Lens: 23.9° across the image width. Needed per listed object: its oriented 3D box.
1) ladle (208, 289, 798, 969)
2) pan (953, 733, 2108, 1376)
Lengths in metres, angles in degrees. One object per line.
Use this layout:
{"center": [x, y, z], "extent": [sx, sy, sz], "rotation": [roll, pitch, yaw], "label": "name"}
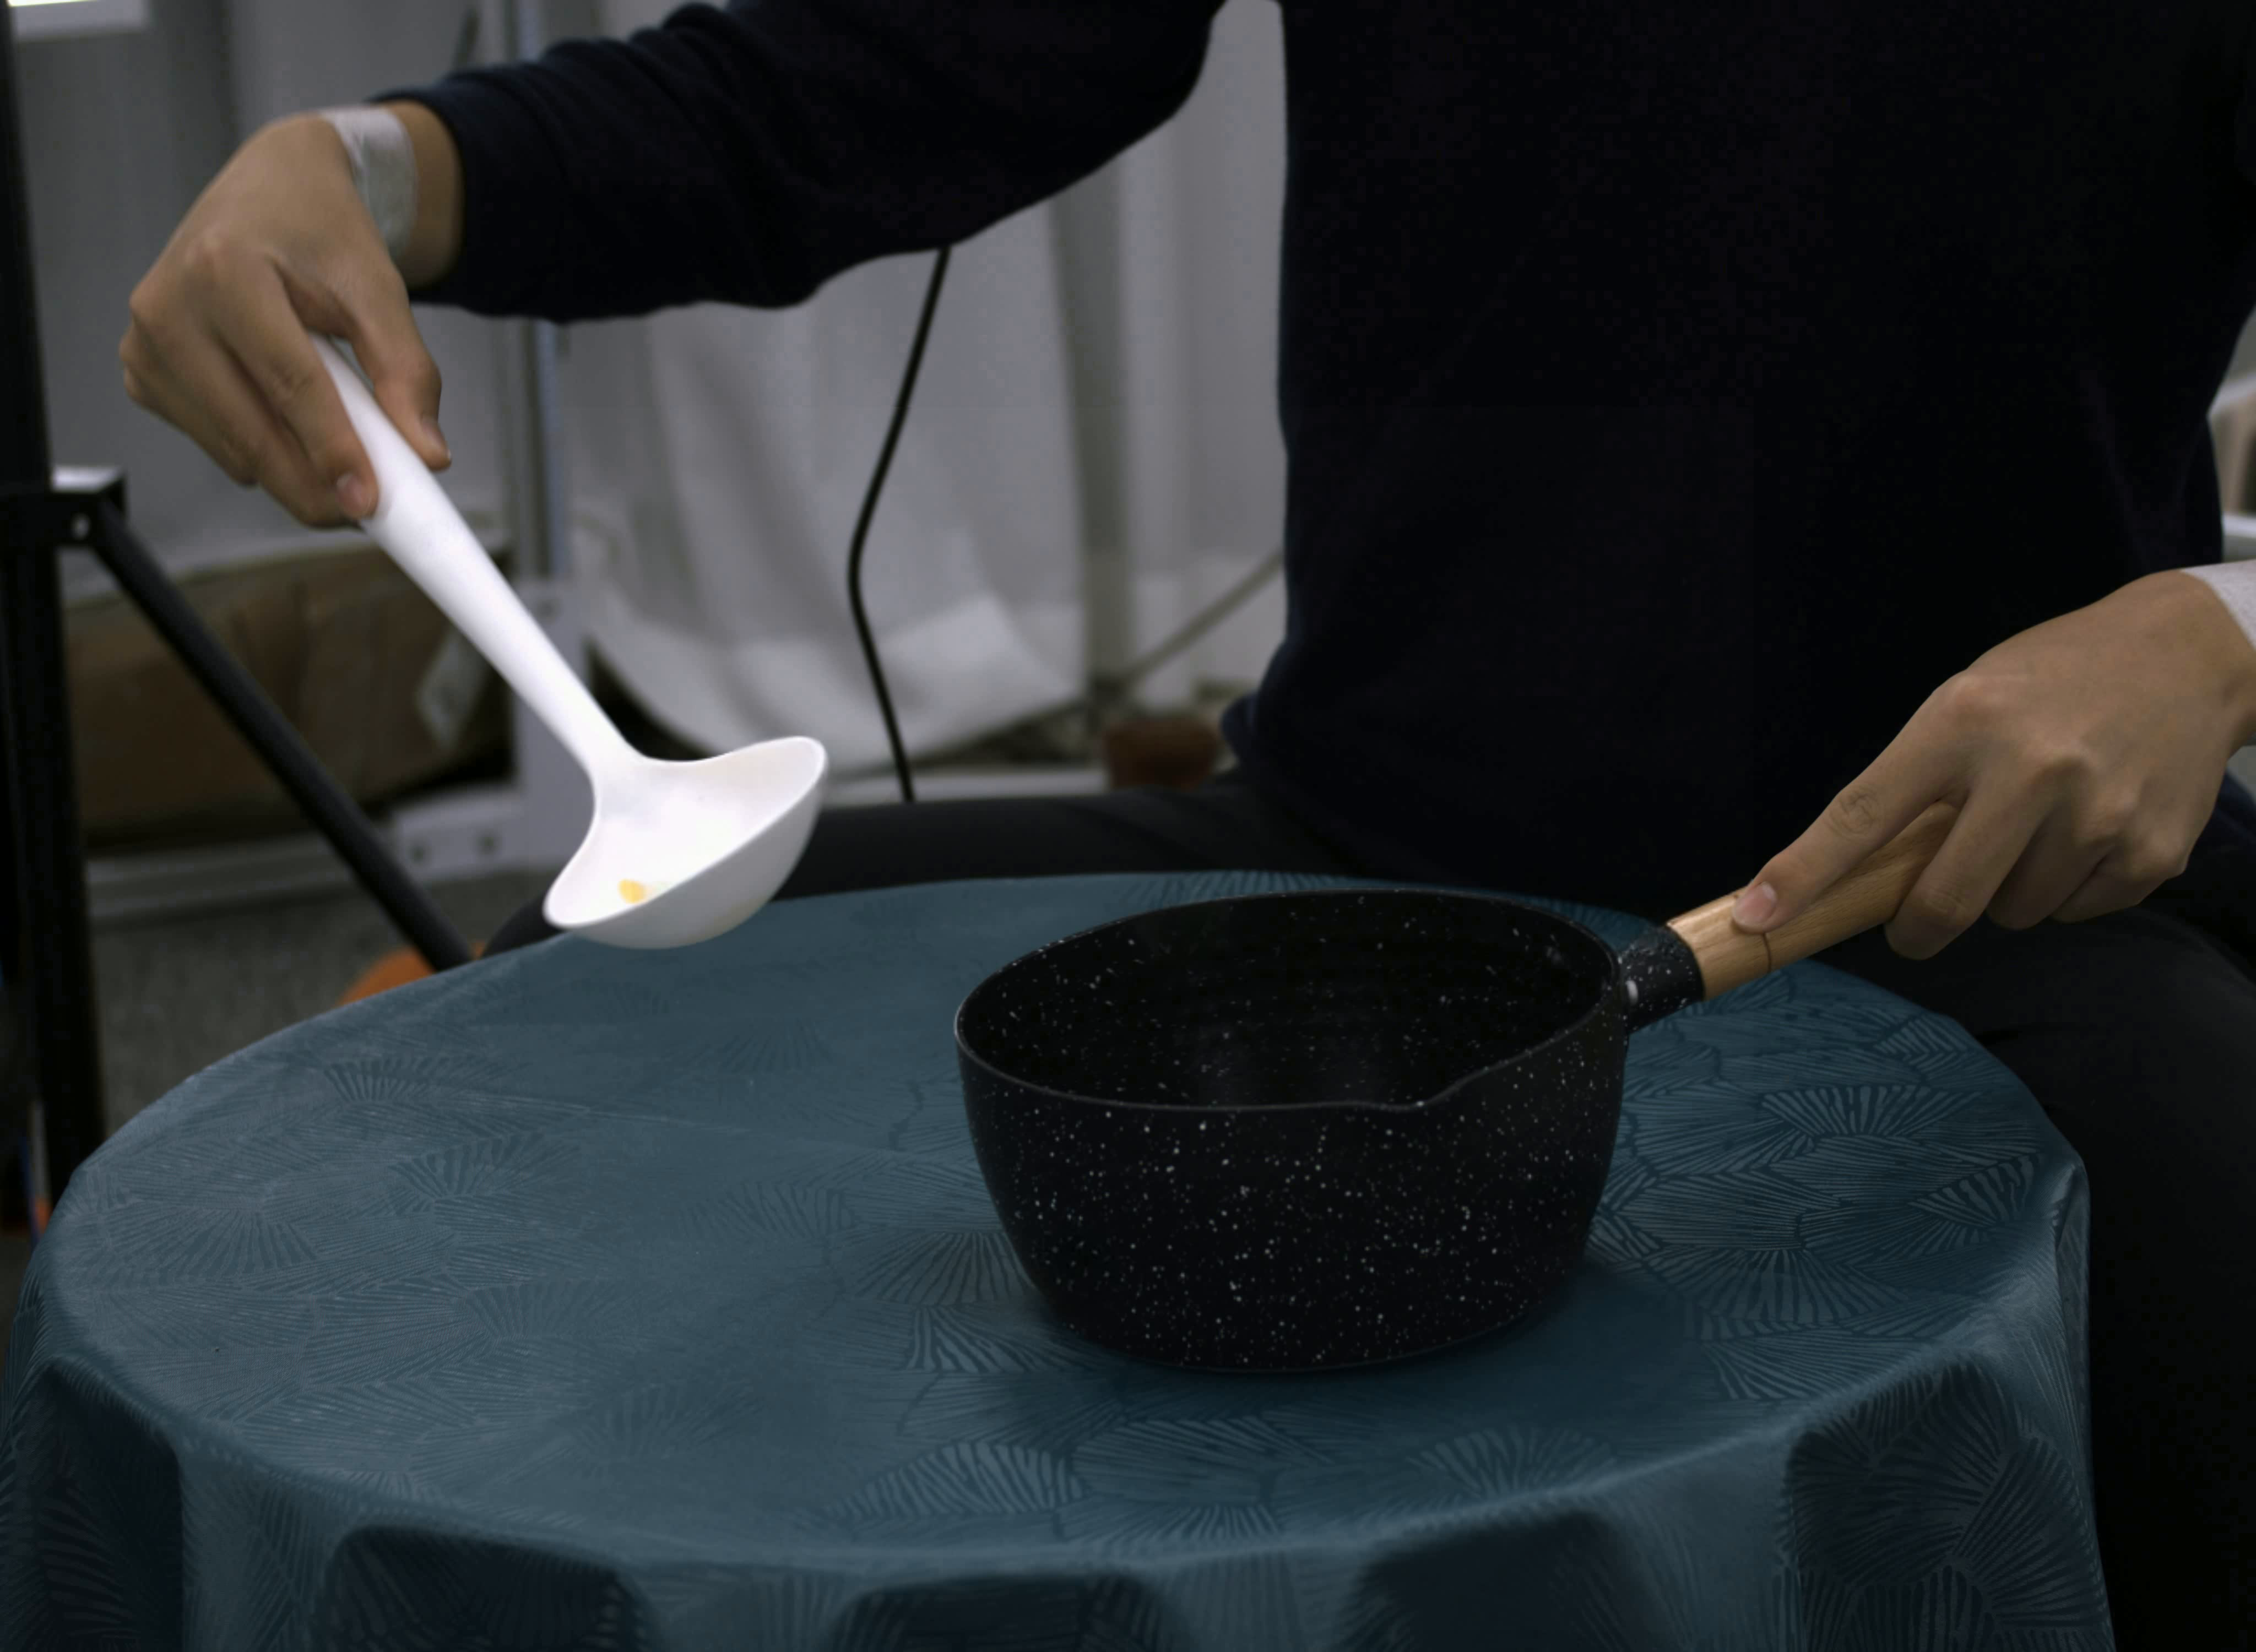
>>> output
{"center": [-0.190, -0.065, 1.543], "extent": [0.090, 0.069, 0.299], "rotation": [-38, 58, -3], "label": "ladle"}
{"center": [0.121, 0.059, 1.480], "extent": [0.337, 0.108, 0.211], "rotation": [-13, 17, -15], "label": "pan"}
